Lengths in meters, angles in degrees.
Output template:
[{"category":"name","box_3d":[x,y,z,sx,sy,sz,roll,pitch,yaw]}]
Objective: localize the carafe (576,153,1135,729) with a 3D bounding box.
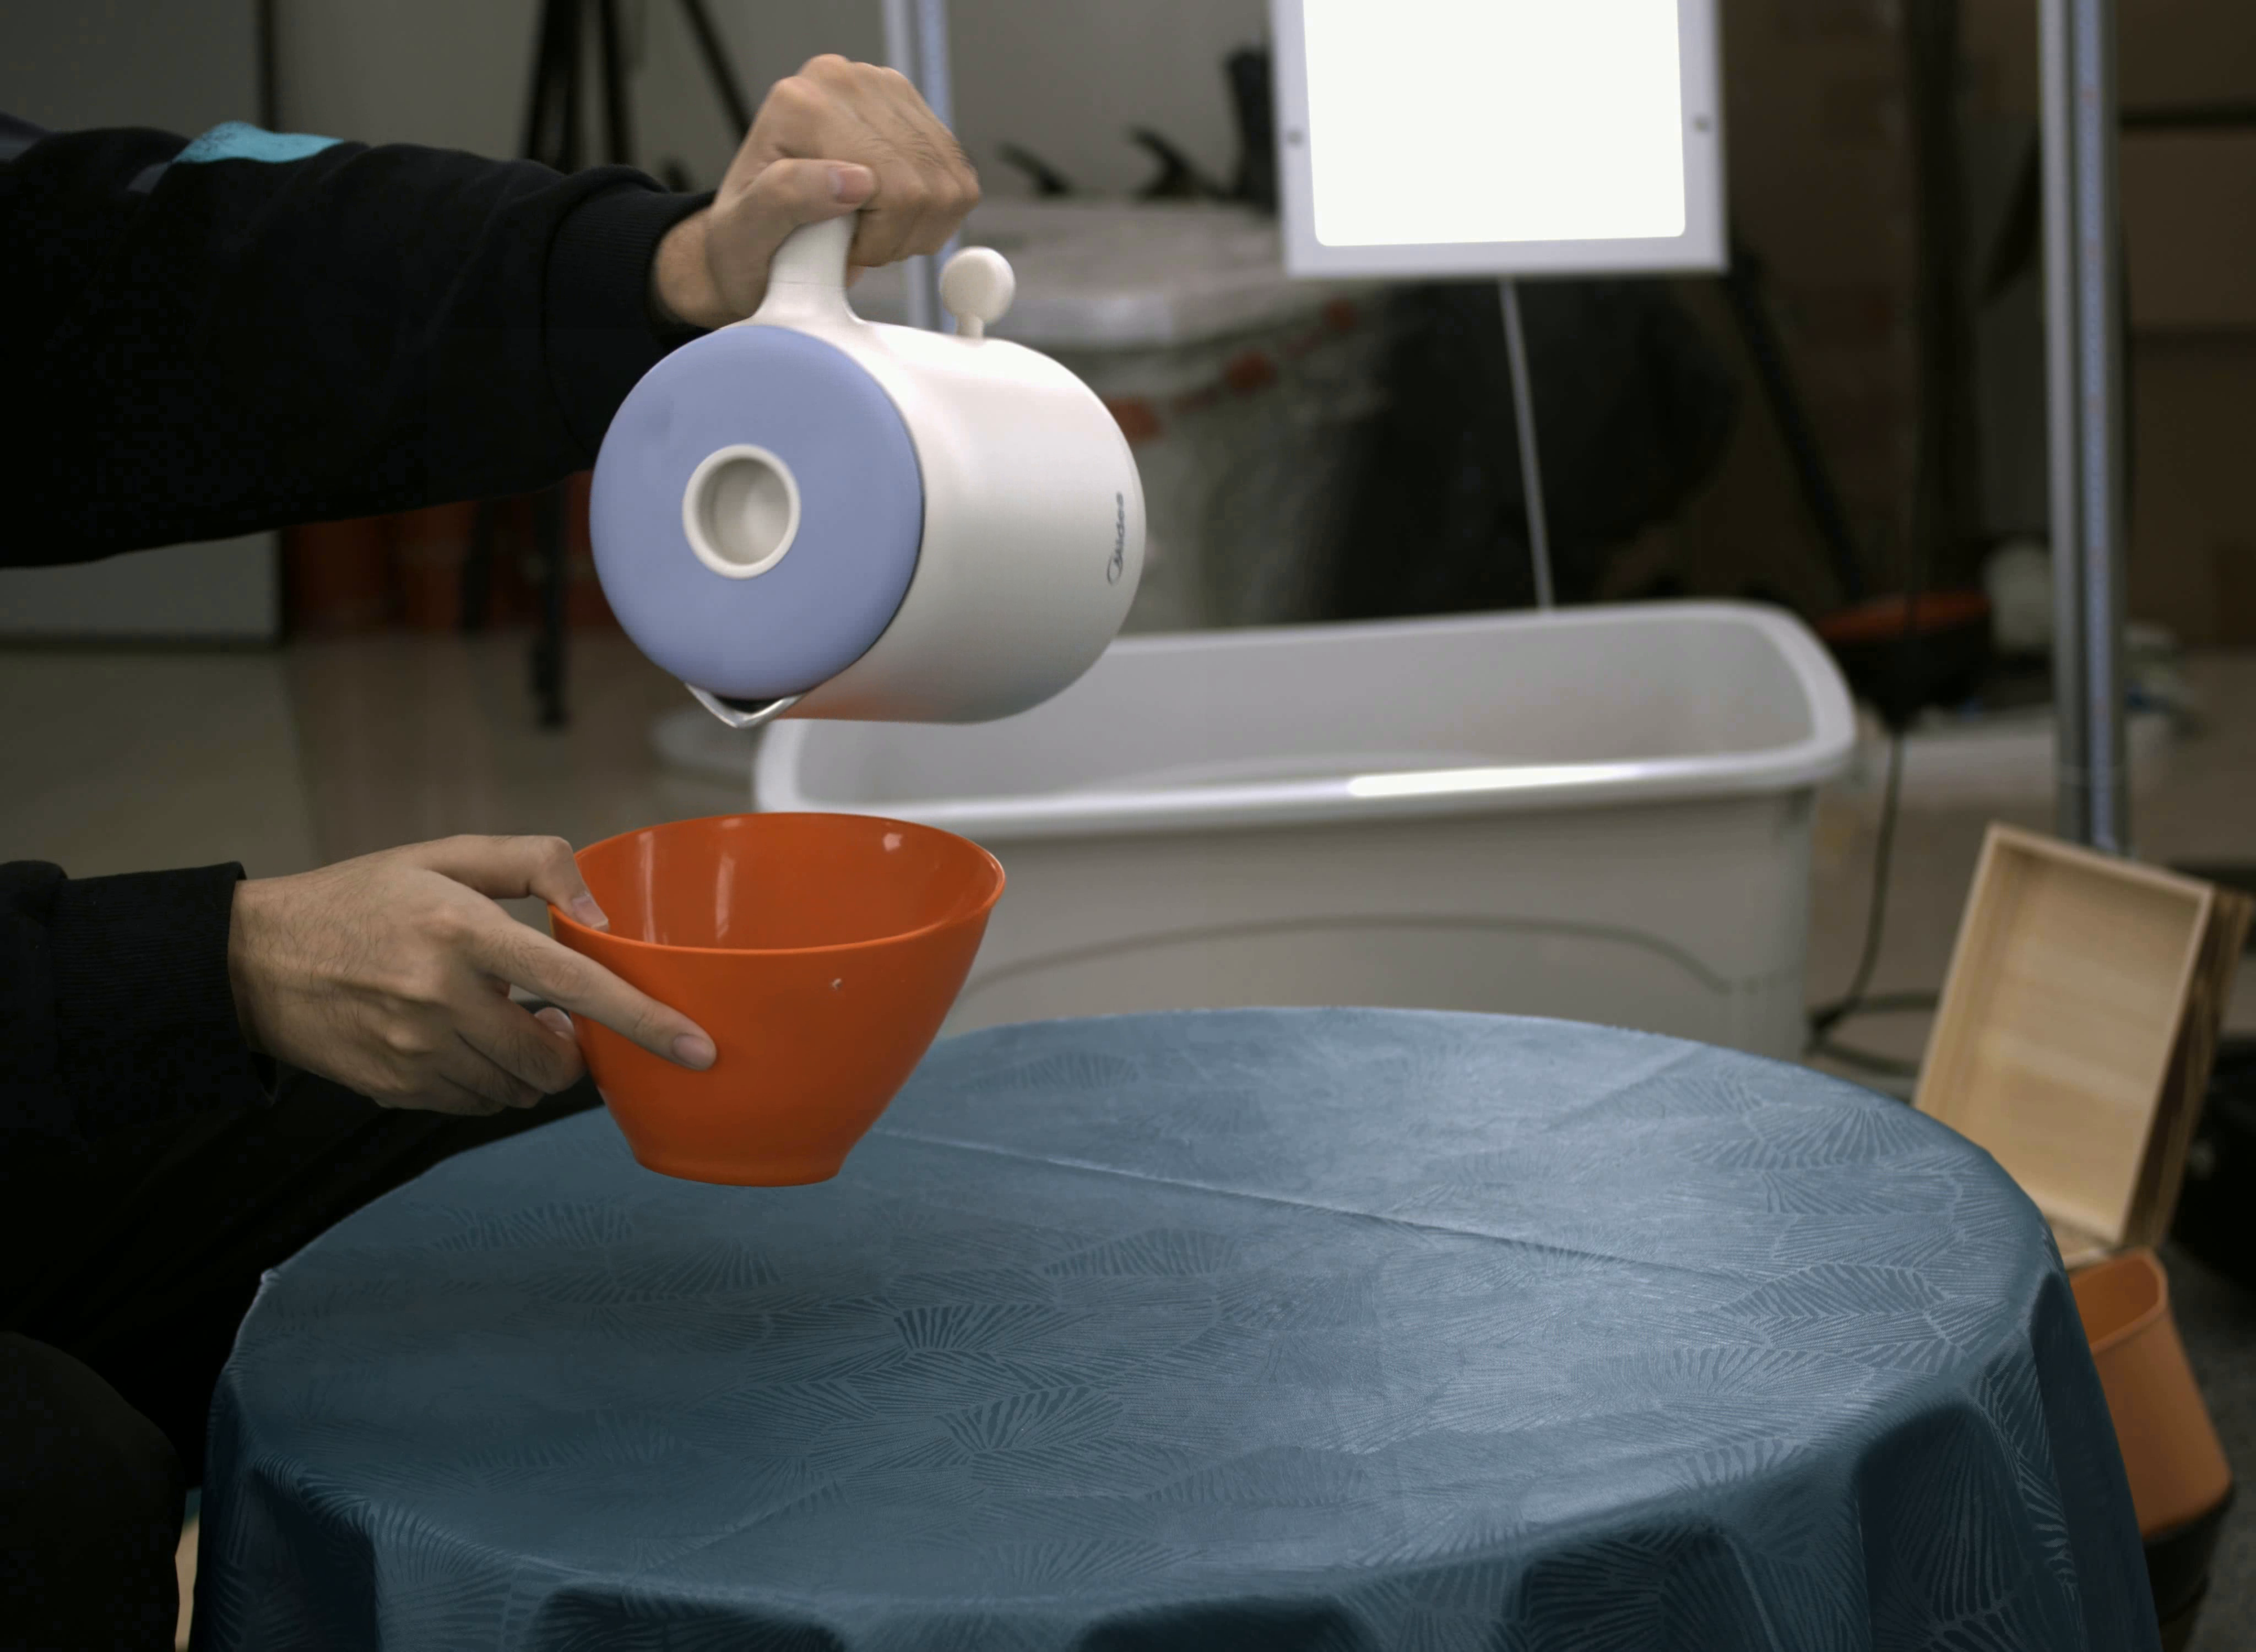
[{"category":"carafe","box_3d":[-0.087,-0.125,1.802,0.134,0.191,0.179,2,1,25]}]

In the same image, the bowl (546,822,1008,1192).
[{"category":"bowl","box_3d":[-0.115,0.059,1.769,0.147,0.105,0.148,4,8,-2]}]
